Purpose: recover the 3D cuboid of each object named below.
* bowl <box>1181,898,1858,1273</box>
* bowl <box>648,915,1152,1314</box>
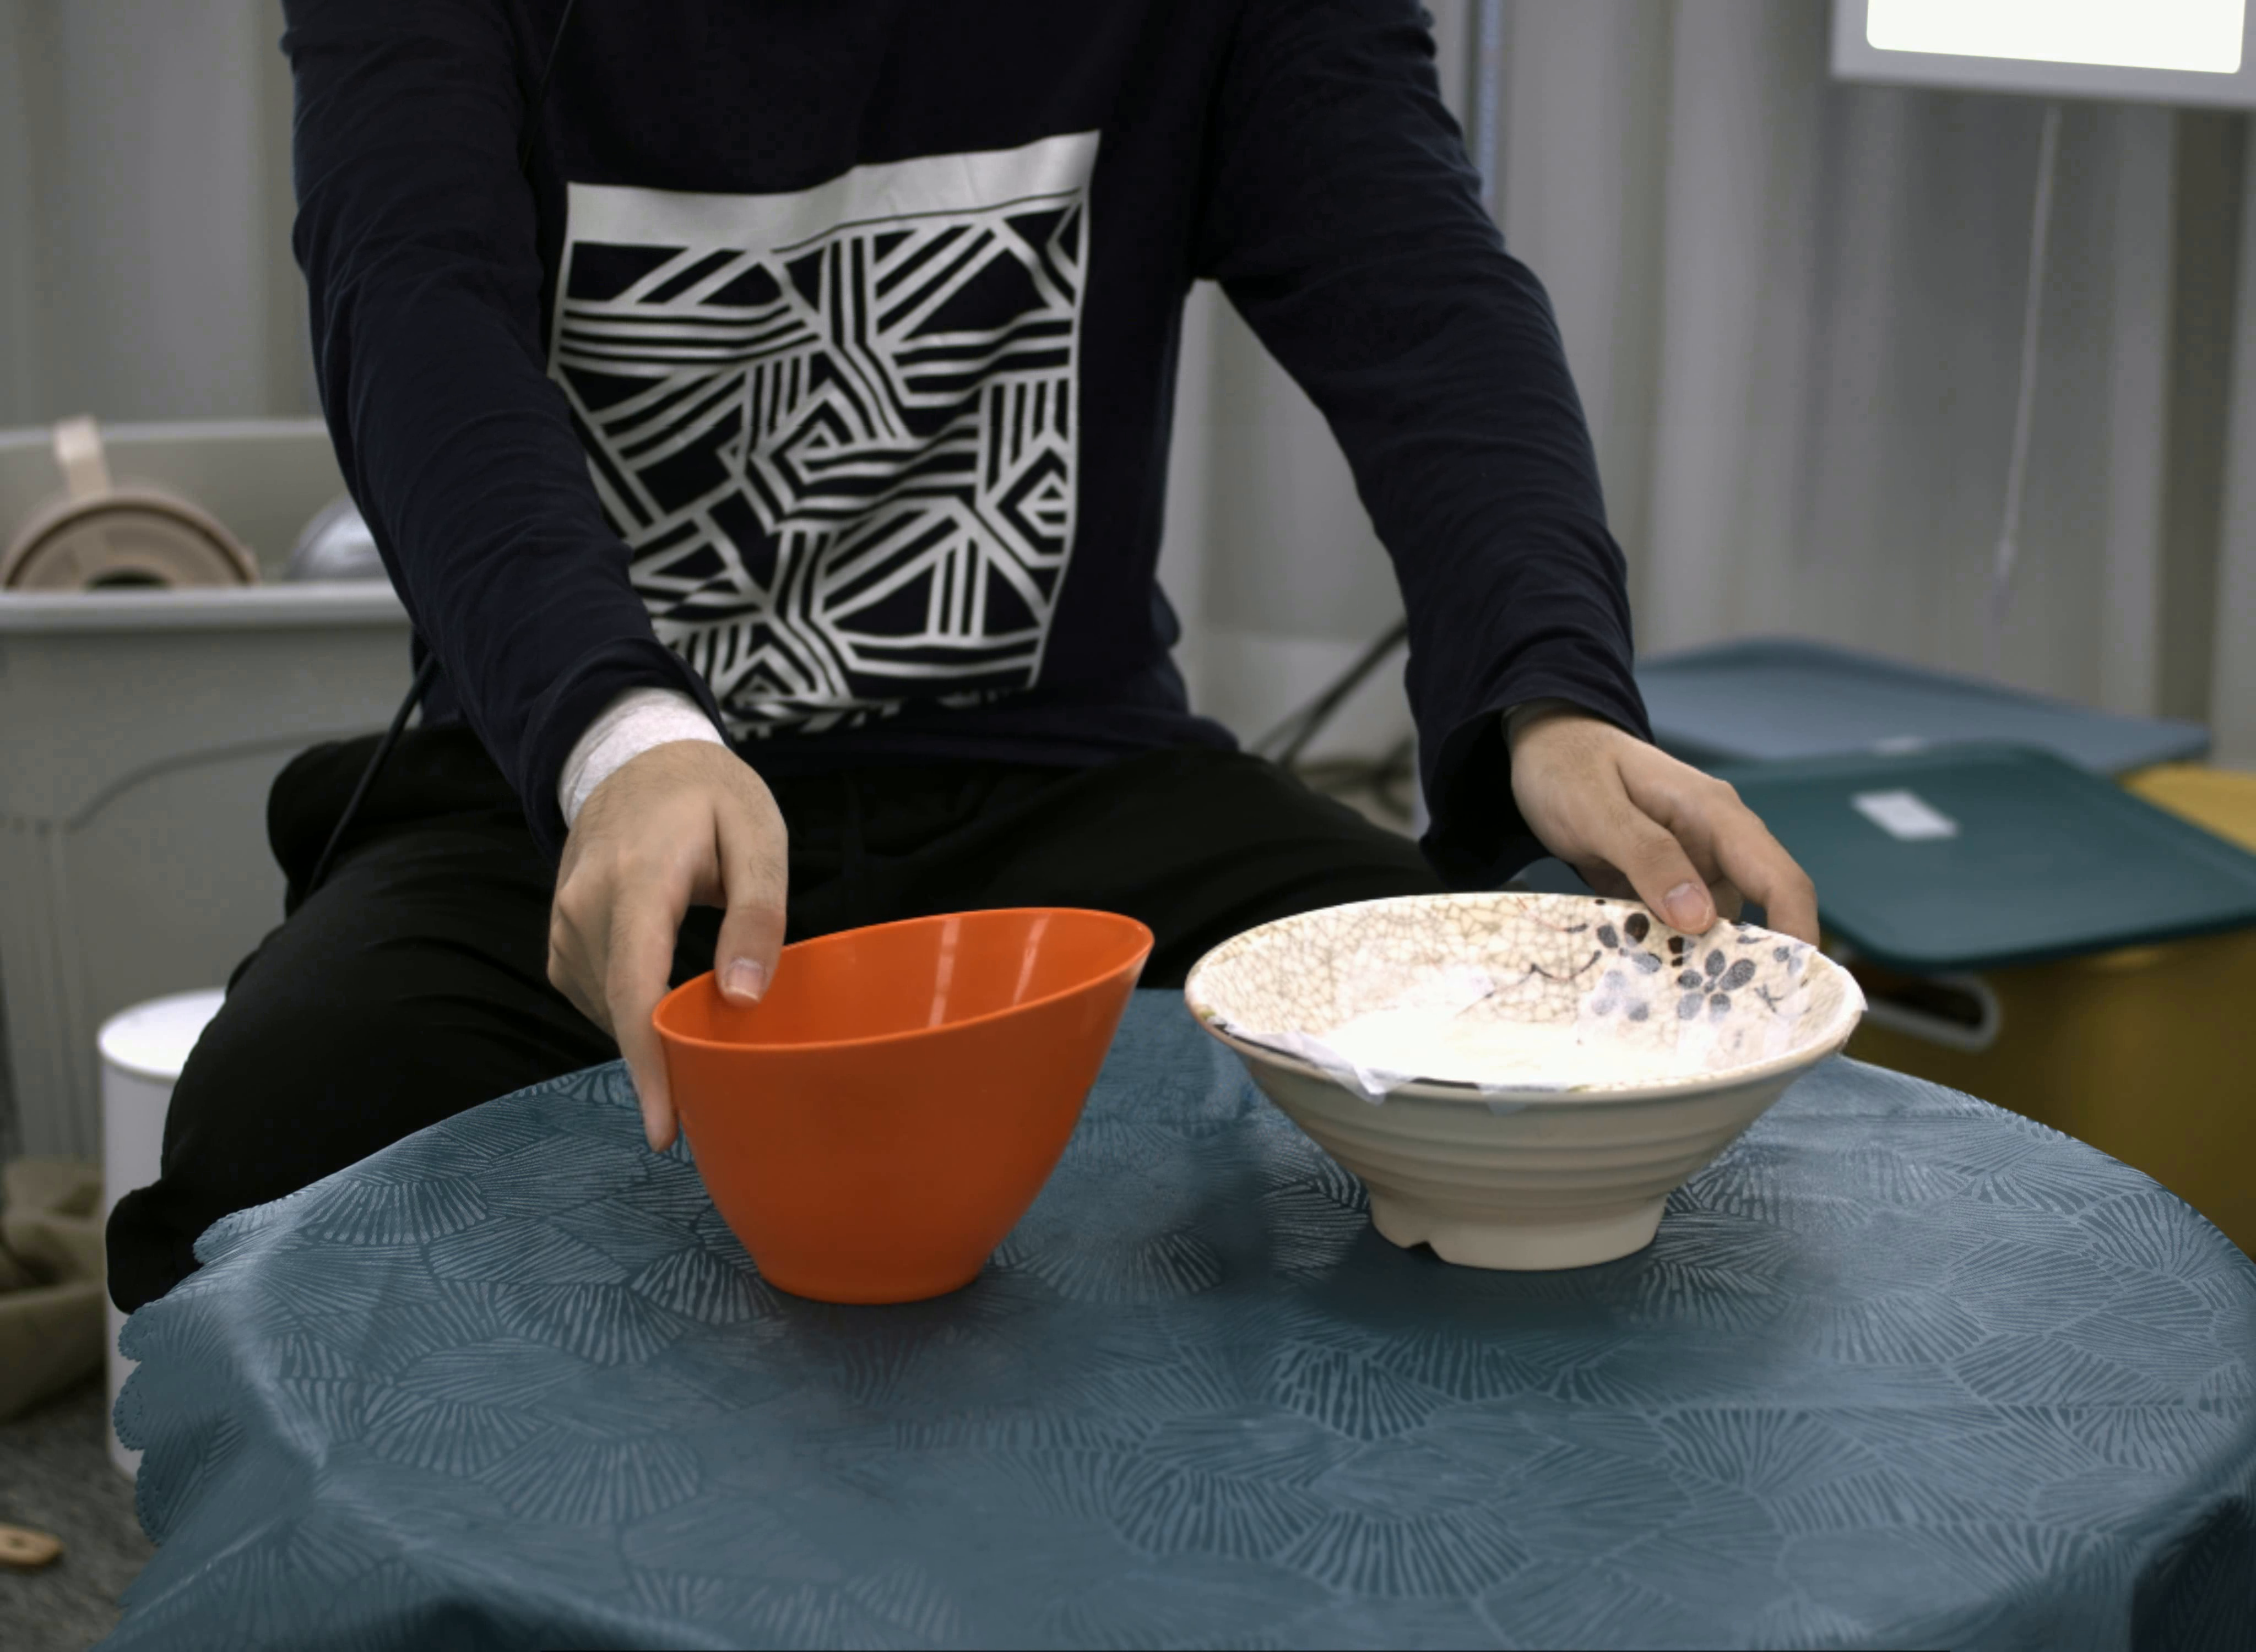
[{"bbox_3d":[0.116,0.084,1.586,0.203,0.078,0.203,2,14,0],"label":"bowl"},{"bbox_3d":[-0.066,0.084,1.538,0.147,0.105,0.147,0,14,1],"label":"bowl"}]
